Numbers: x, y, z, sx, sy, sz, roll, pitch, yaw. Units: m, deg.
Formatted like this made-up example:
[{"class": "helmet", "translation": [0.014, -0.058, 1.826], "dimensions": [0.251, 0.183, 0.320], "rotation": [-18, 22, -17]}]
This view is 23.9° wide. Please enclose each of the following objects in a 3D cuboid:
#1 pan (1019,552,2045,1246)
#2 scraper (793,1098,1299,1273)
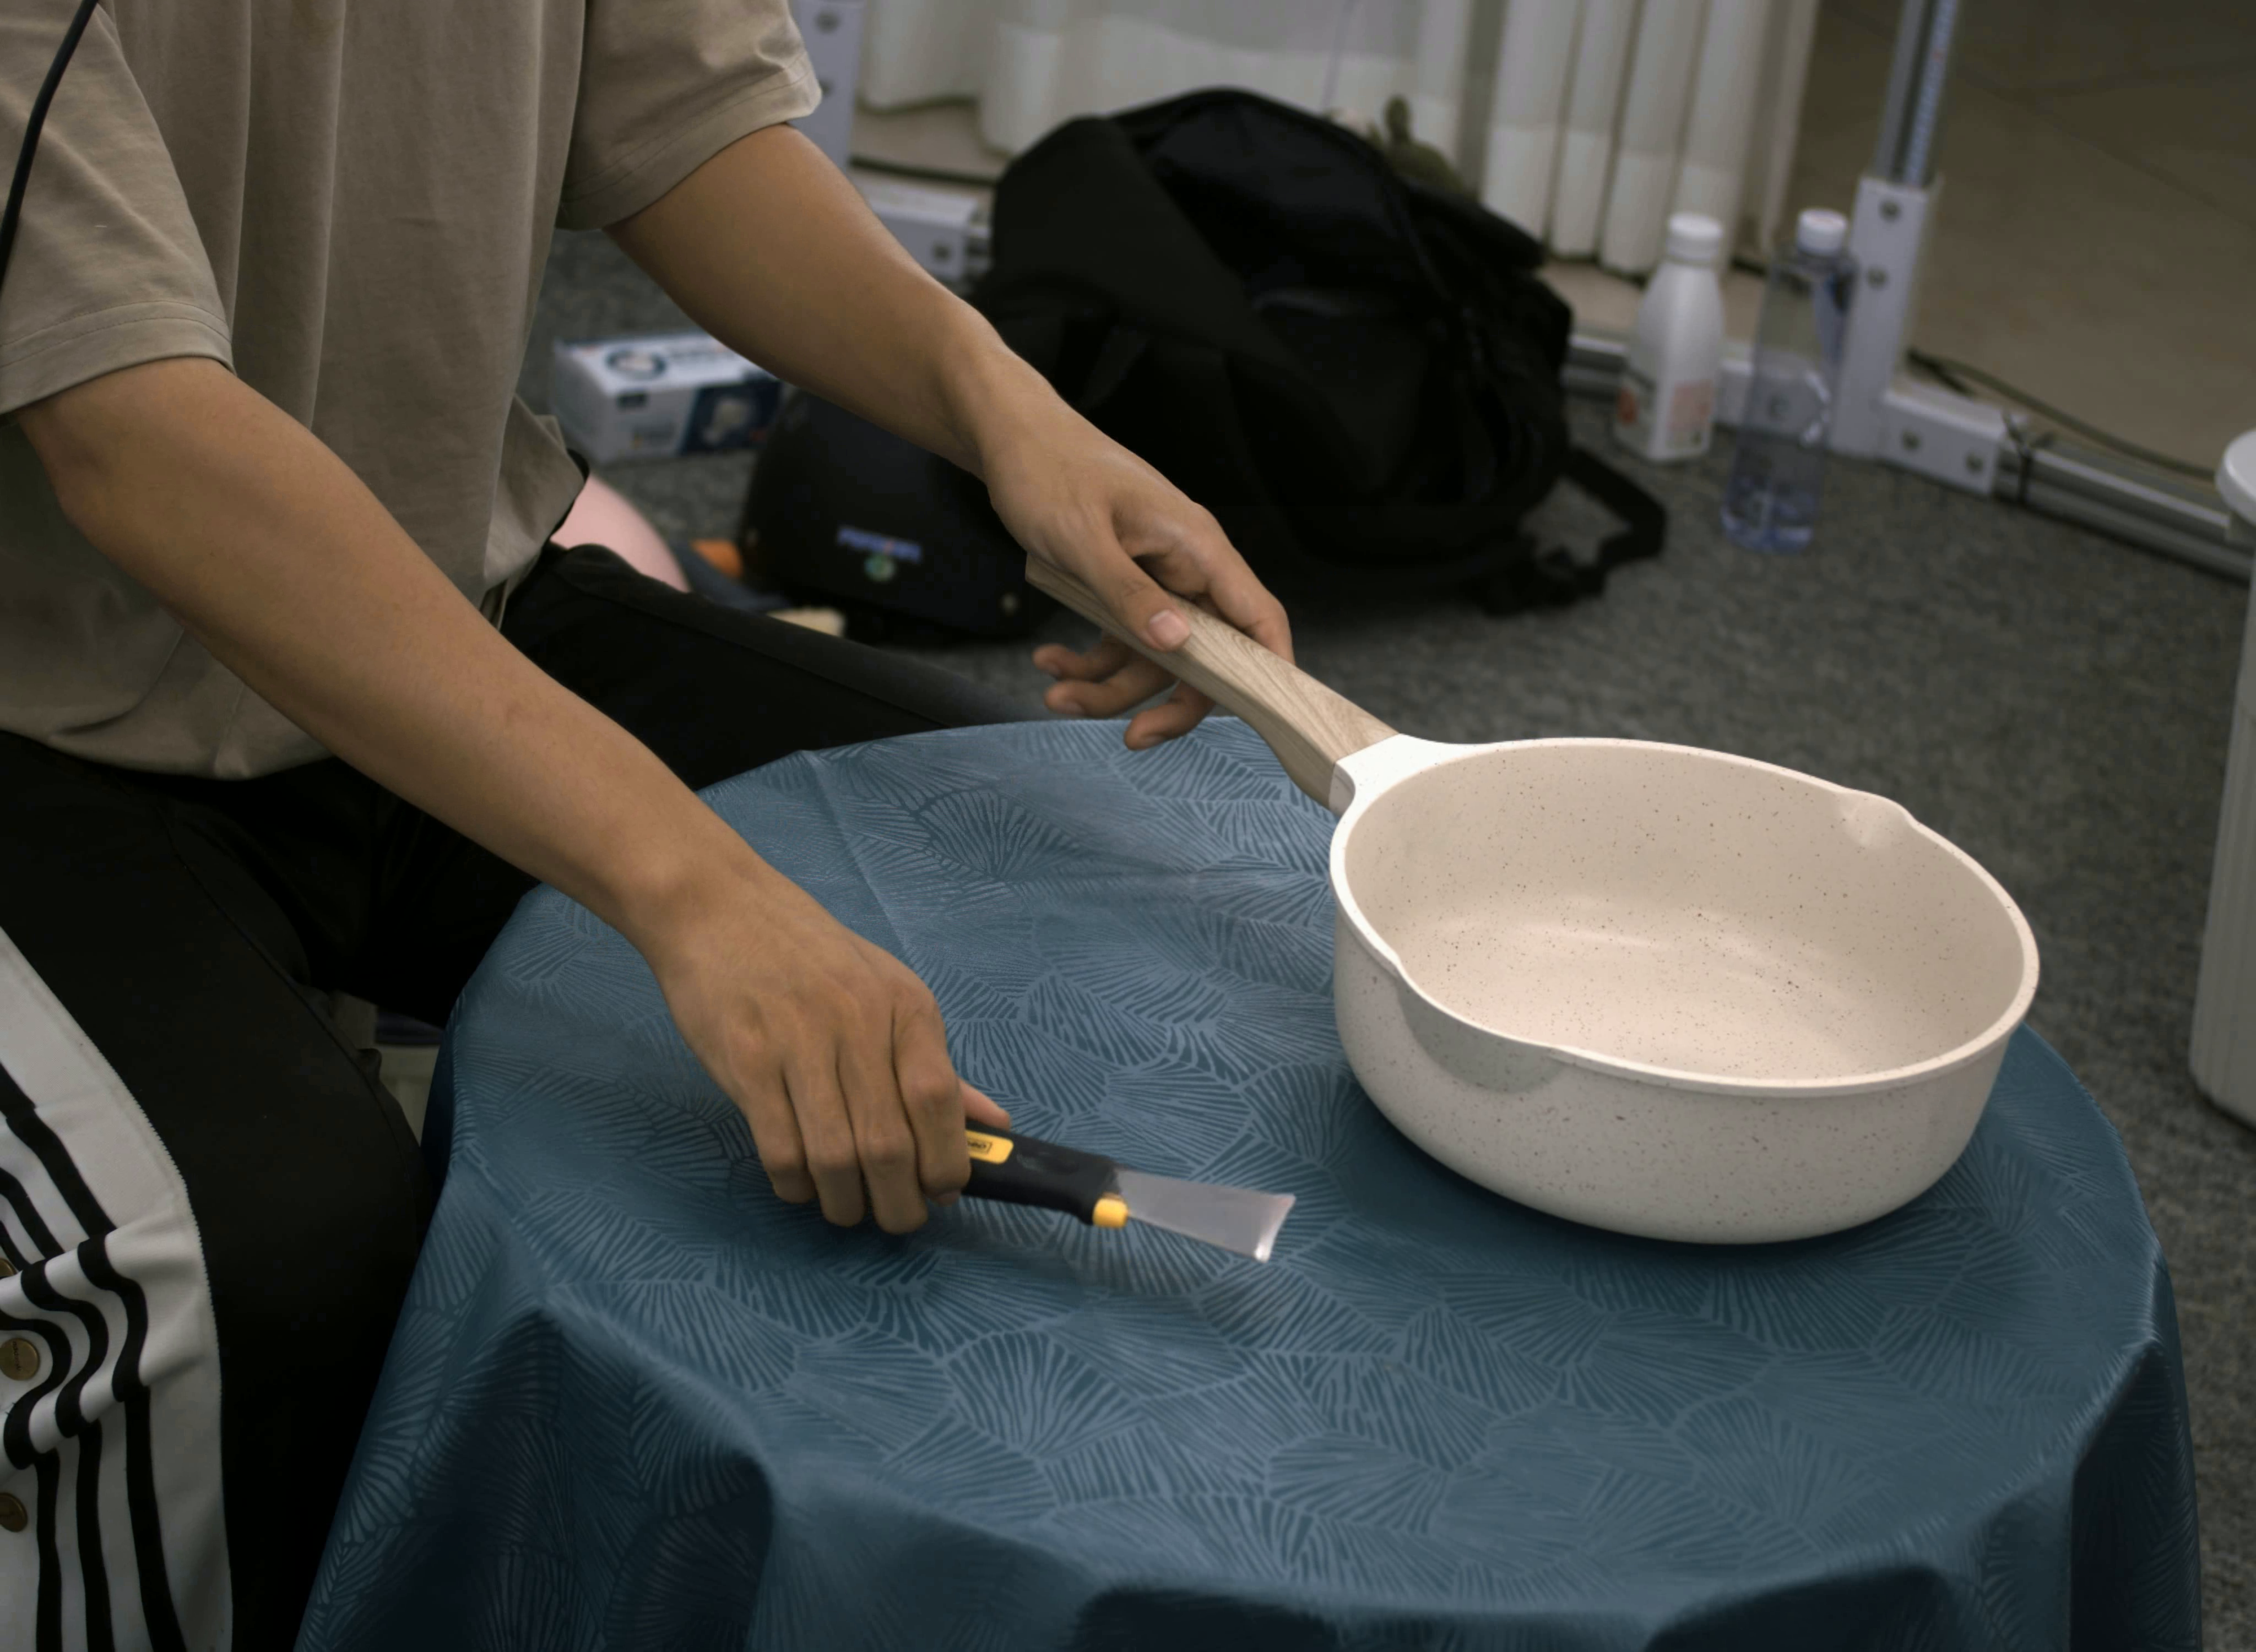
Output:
[{"class": "pan", "translation": [0.125, 0.020, 1.934], "dimensions": [0.438, 0.101, 0.262], "rotation": [27, 36, 33]}, {"class": "scraper", "translation": [-0.029, 0.117, 1.751], "dimensions": [0.171, 0.015, 0.039], "rotation": [11, 47, 14]}]
